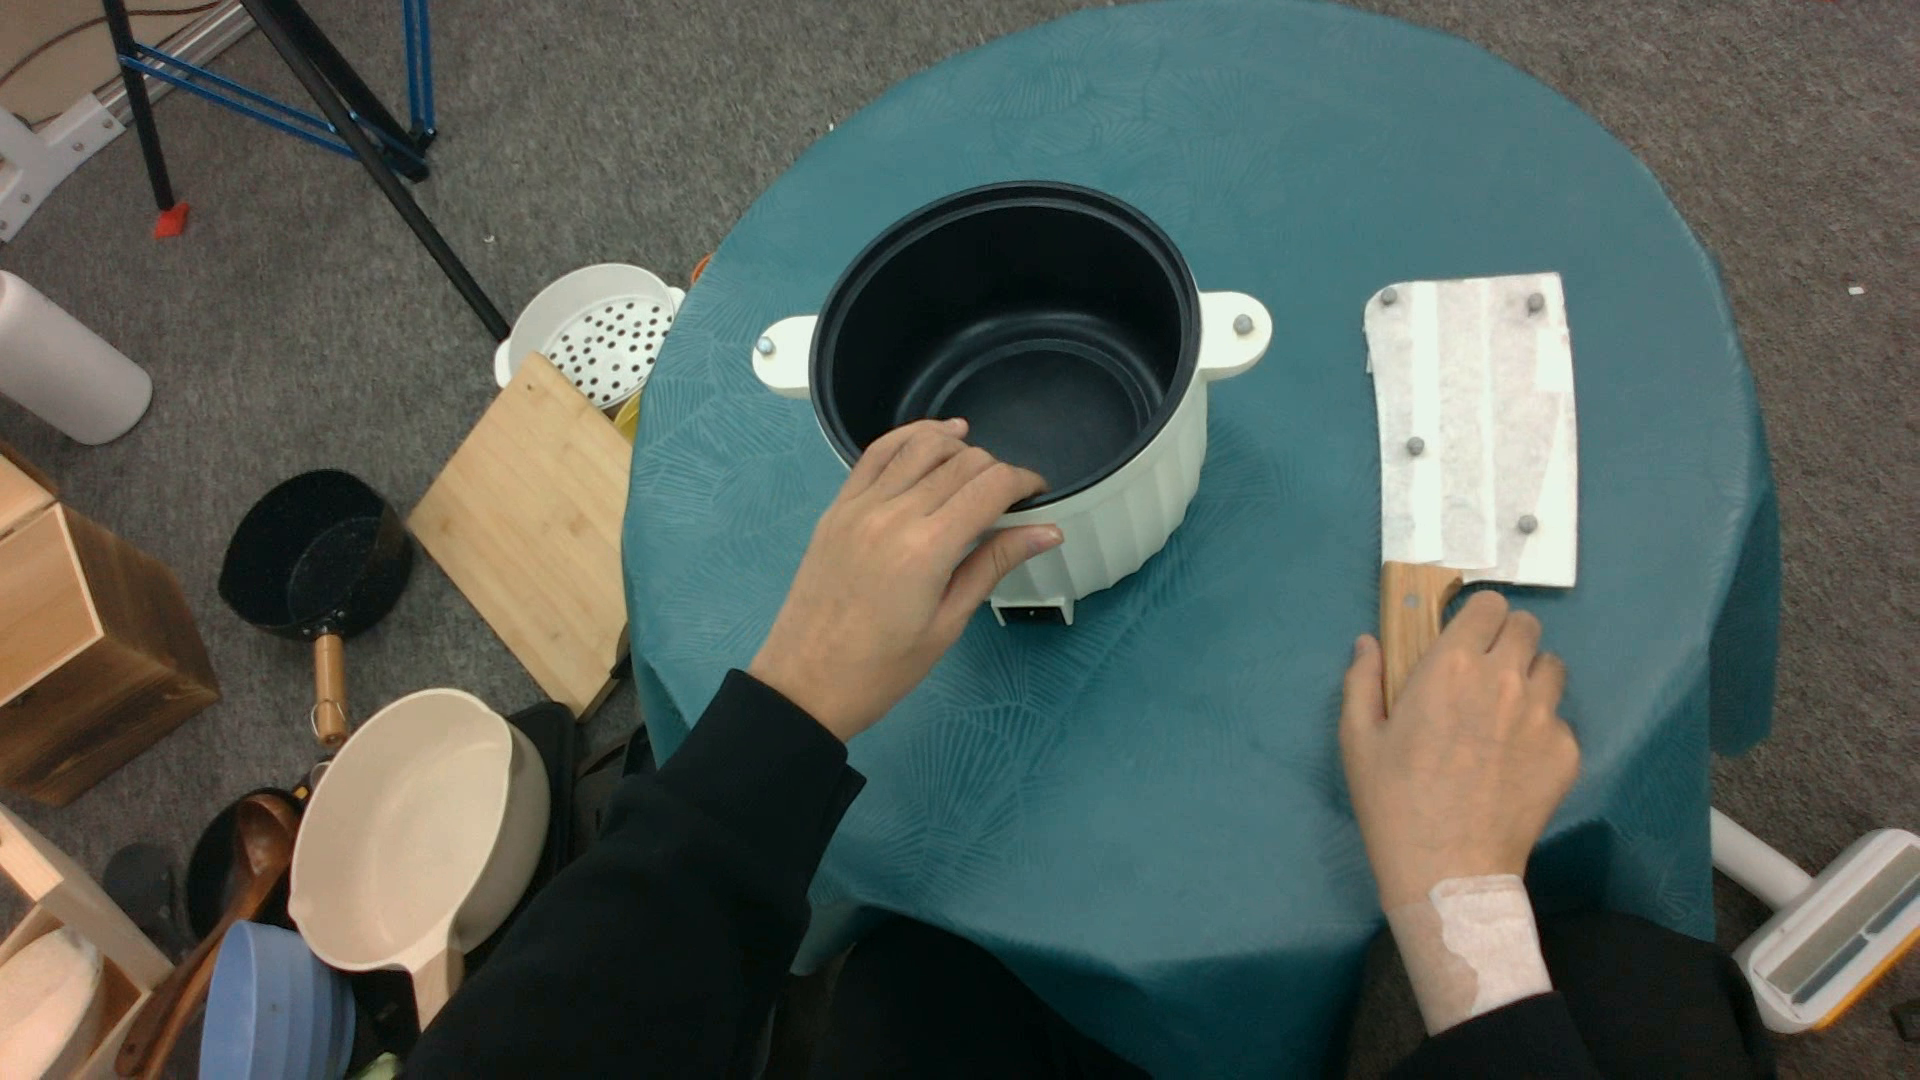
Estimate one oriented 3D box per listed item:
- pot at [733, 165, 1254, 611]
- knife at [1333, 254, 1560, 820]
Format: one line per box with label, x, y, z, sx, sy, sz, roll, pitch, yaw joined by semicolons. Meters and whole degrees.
pot;0.023;-0.074;0.680;0.240;0.142;0.191;-2;66;11
knife;0.232;-0.016;0.671;0.114;0.021;0.316;5;62;15
